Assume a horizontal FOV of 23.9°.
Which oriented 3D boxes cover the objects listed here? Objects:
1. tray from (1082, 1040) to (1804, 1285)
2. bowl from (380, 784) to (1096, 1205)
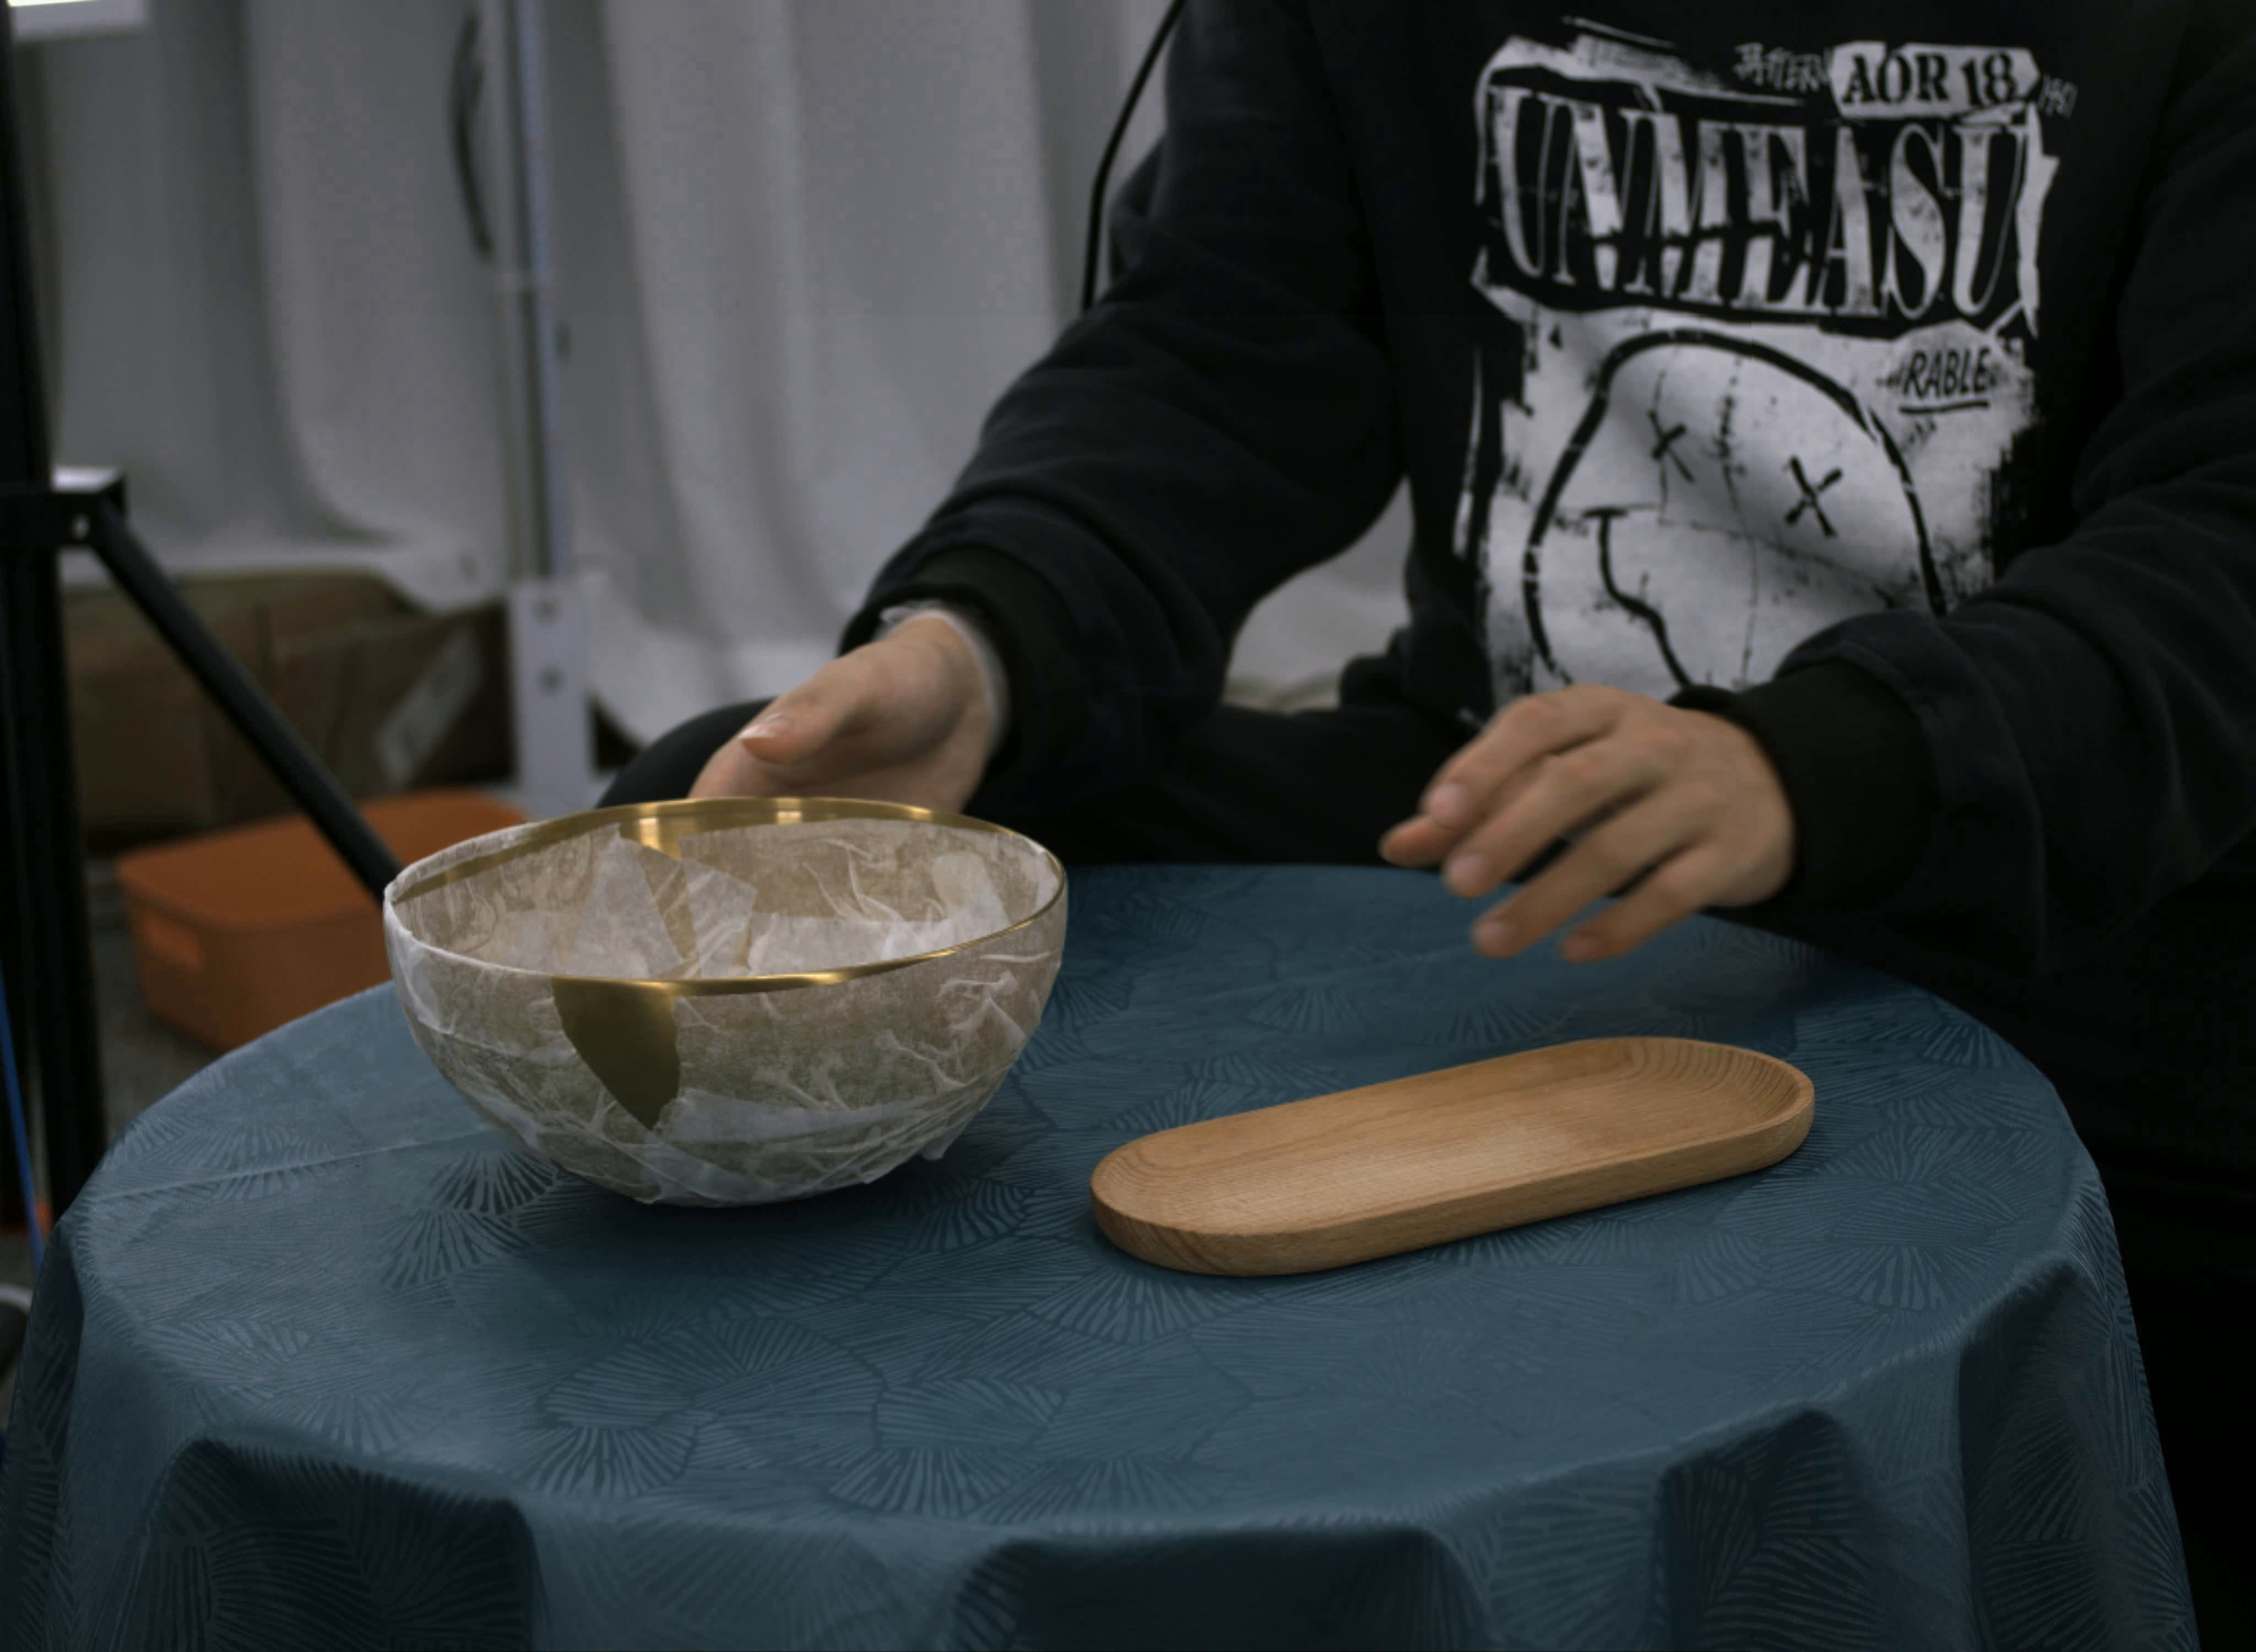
[{"bbox_3d":[0.094,0.098,1.551,0.226,0.020,0.104,-13,16,-25],"label":"tray"},{"bbox_3d":[-0.113,0.058,1.579,0.213,0.094,0.216,-3,14,-1],"label":"bowl"}]
